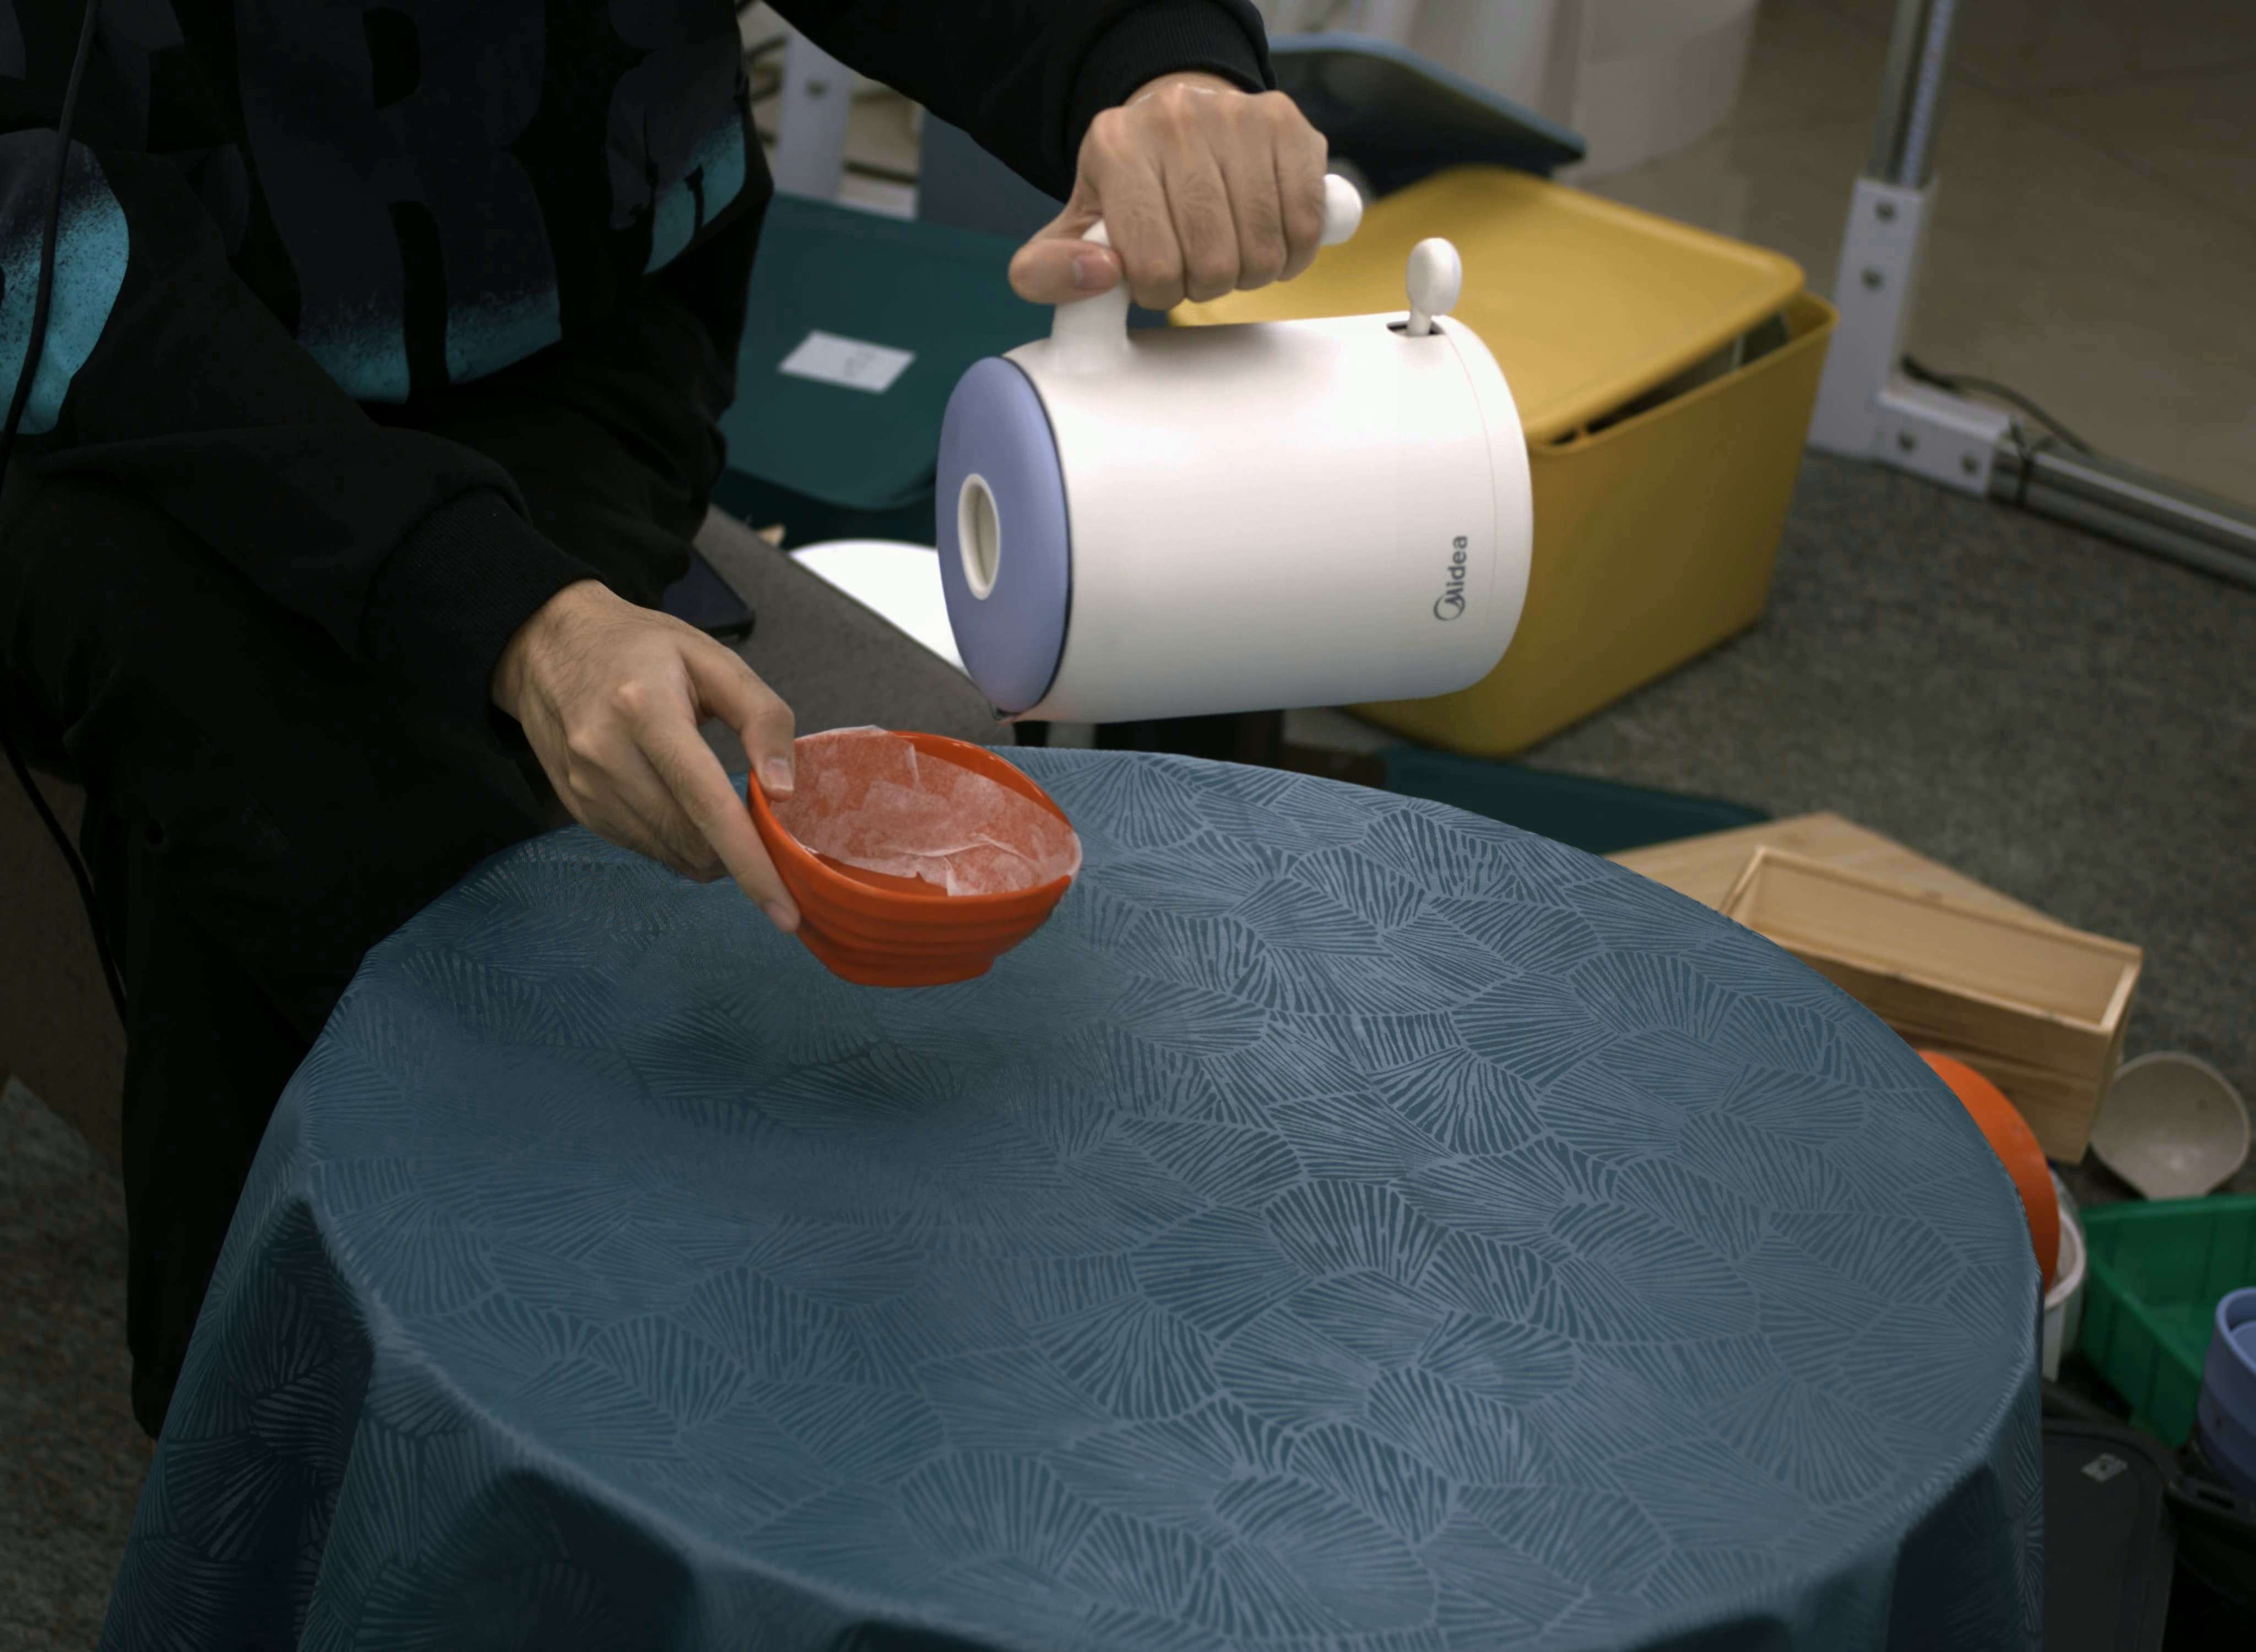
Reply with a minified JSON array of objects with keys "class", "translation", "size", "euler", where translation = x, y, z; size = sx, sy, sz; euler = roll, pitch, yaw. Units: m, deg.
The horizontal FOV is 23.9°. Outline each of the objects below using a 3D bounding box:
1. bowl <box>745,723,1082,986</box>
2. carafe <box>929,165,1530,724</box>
[{"class":"bowl","translation":[-0.077,0.015,1.820],"size":[0.118,0.051,0.120],"euler":[10,31,-6]},{"class":"carafe","translation":[0.036,-0.127,1.780],"size":[0.181,0.190,0.133],"euler":[-3,23,-22]}]
